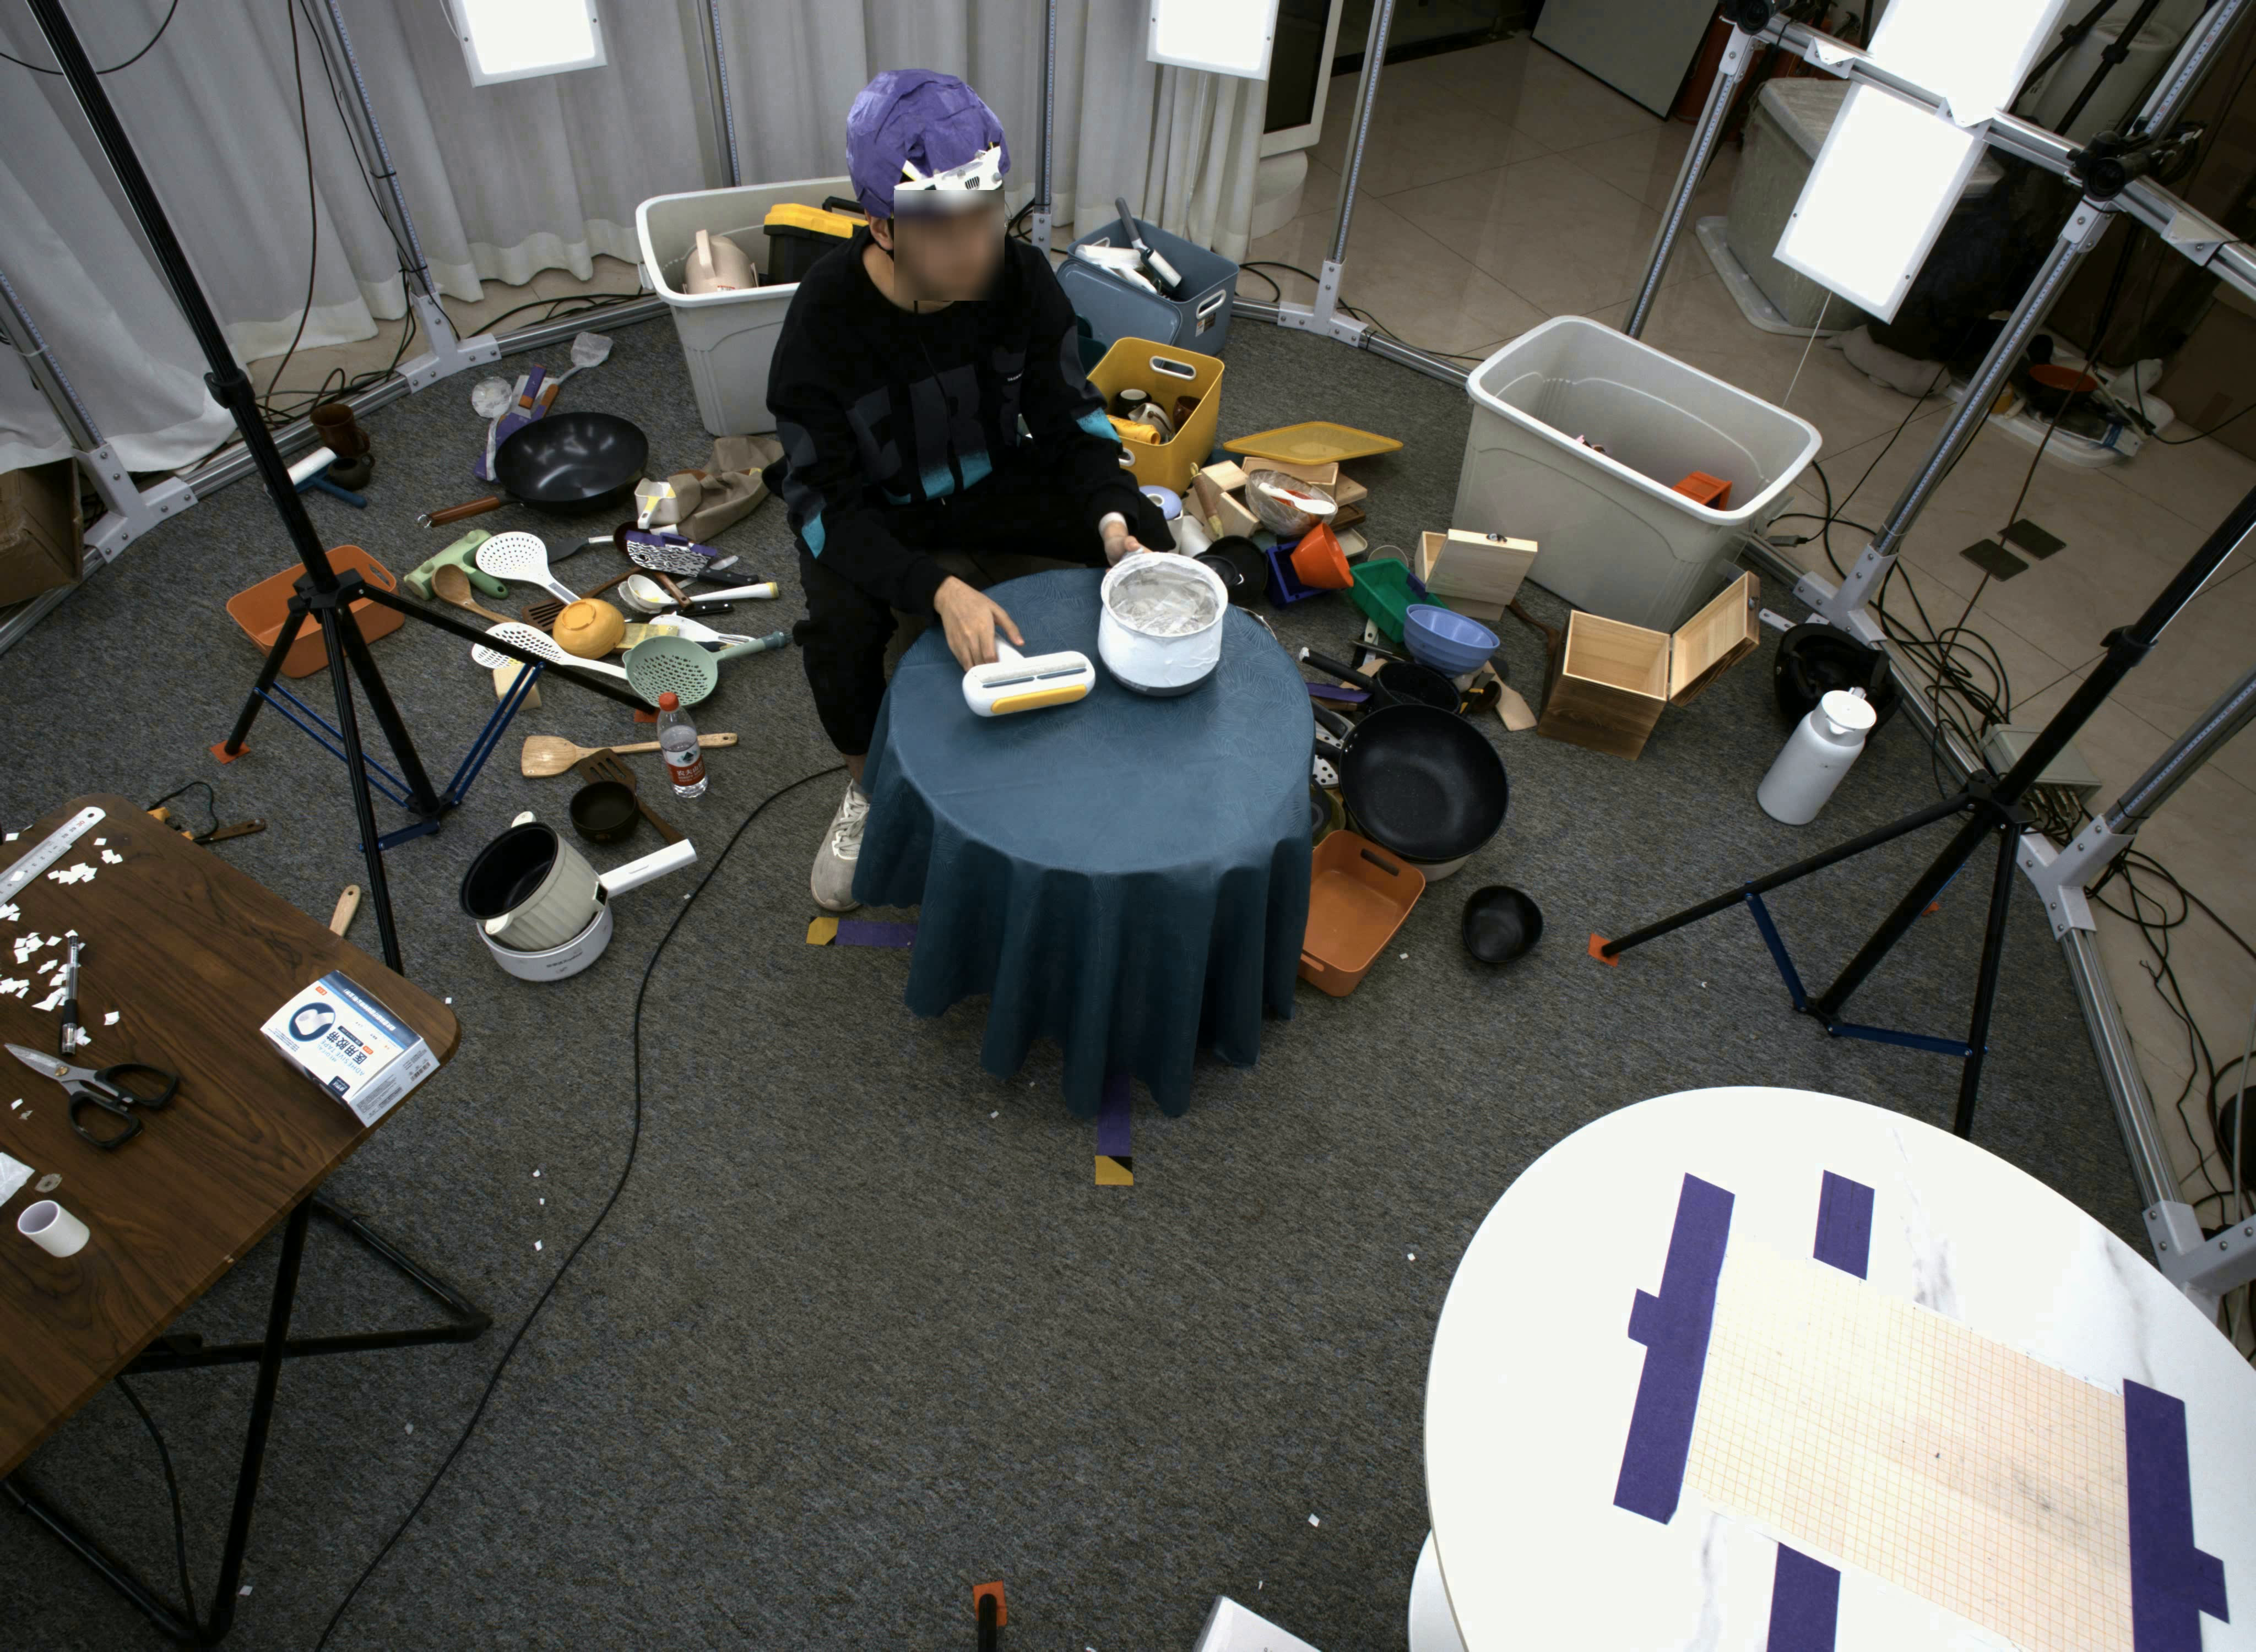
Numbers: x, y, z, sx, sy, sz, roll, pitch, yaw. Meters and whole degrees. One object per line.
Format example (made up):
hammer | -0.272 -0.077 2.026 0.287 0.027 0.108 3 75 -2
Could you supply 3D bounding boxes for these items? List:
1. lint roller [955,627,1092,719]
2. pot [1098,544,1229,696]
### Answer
lint roller | -0.167 -0.231 1.814 0.193 0.072 0.197 -13 49 -22
pot | 0.037 -0.304 1.843 0.179 0.133 0.239 -14 53 -18
